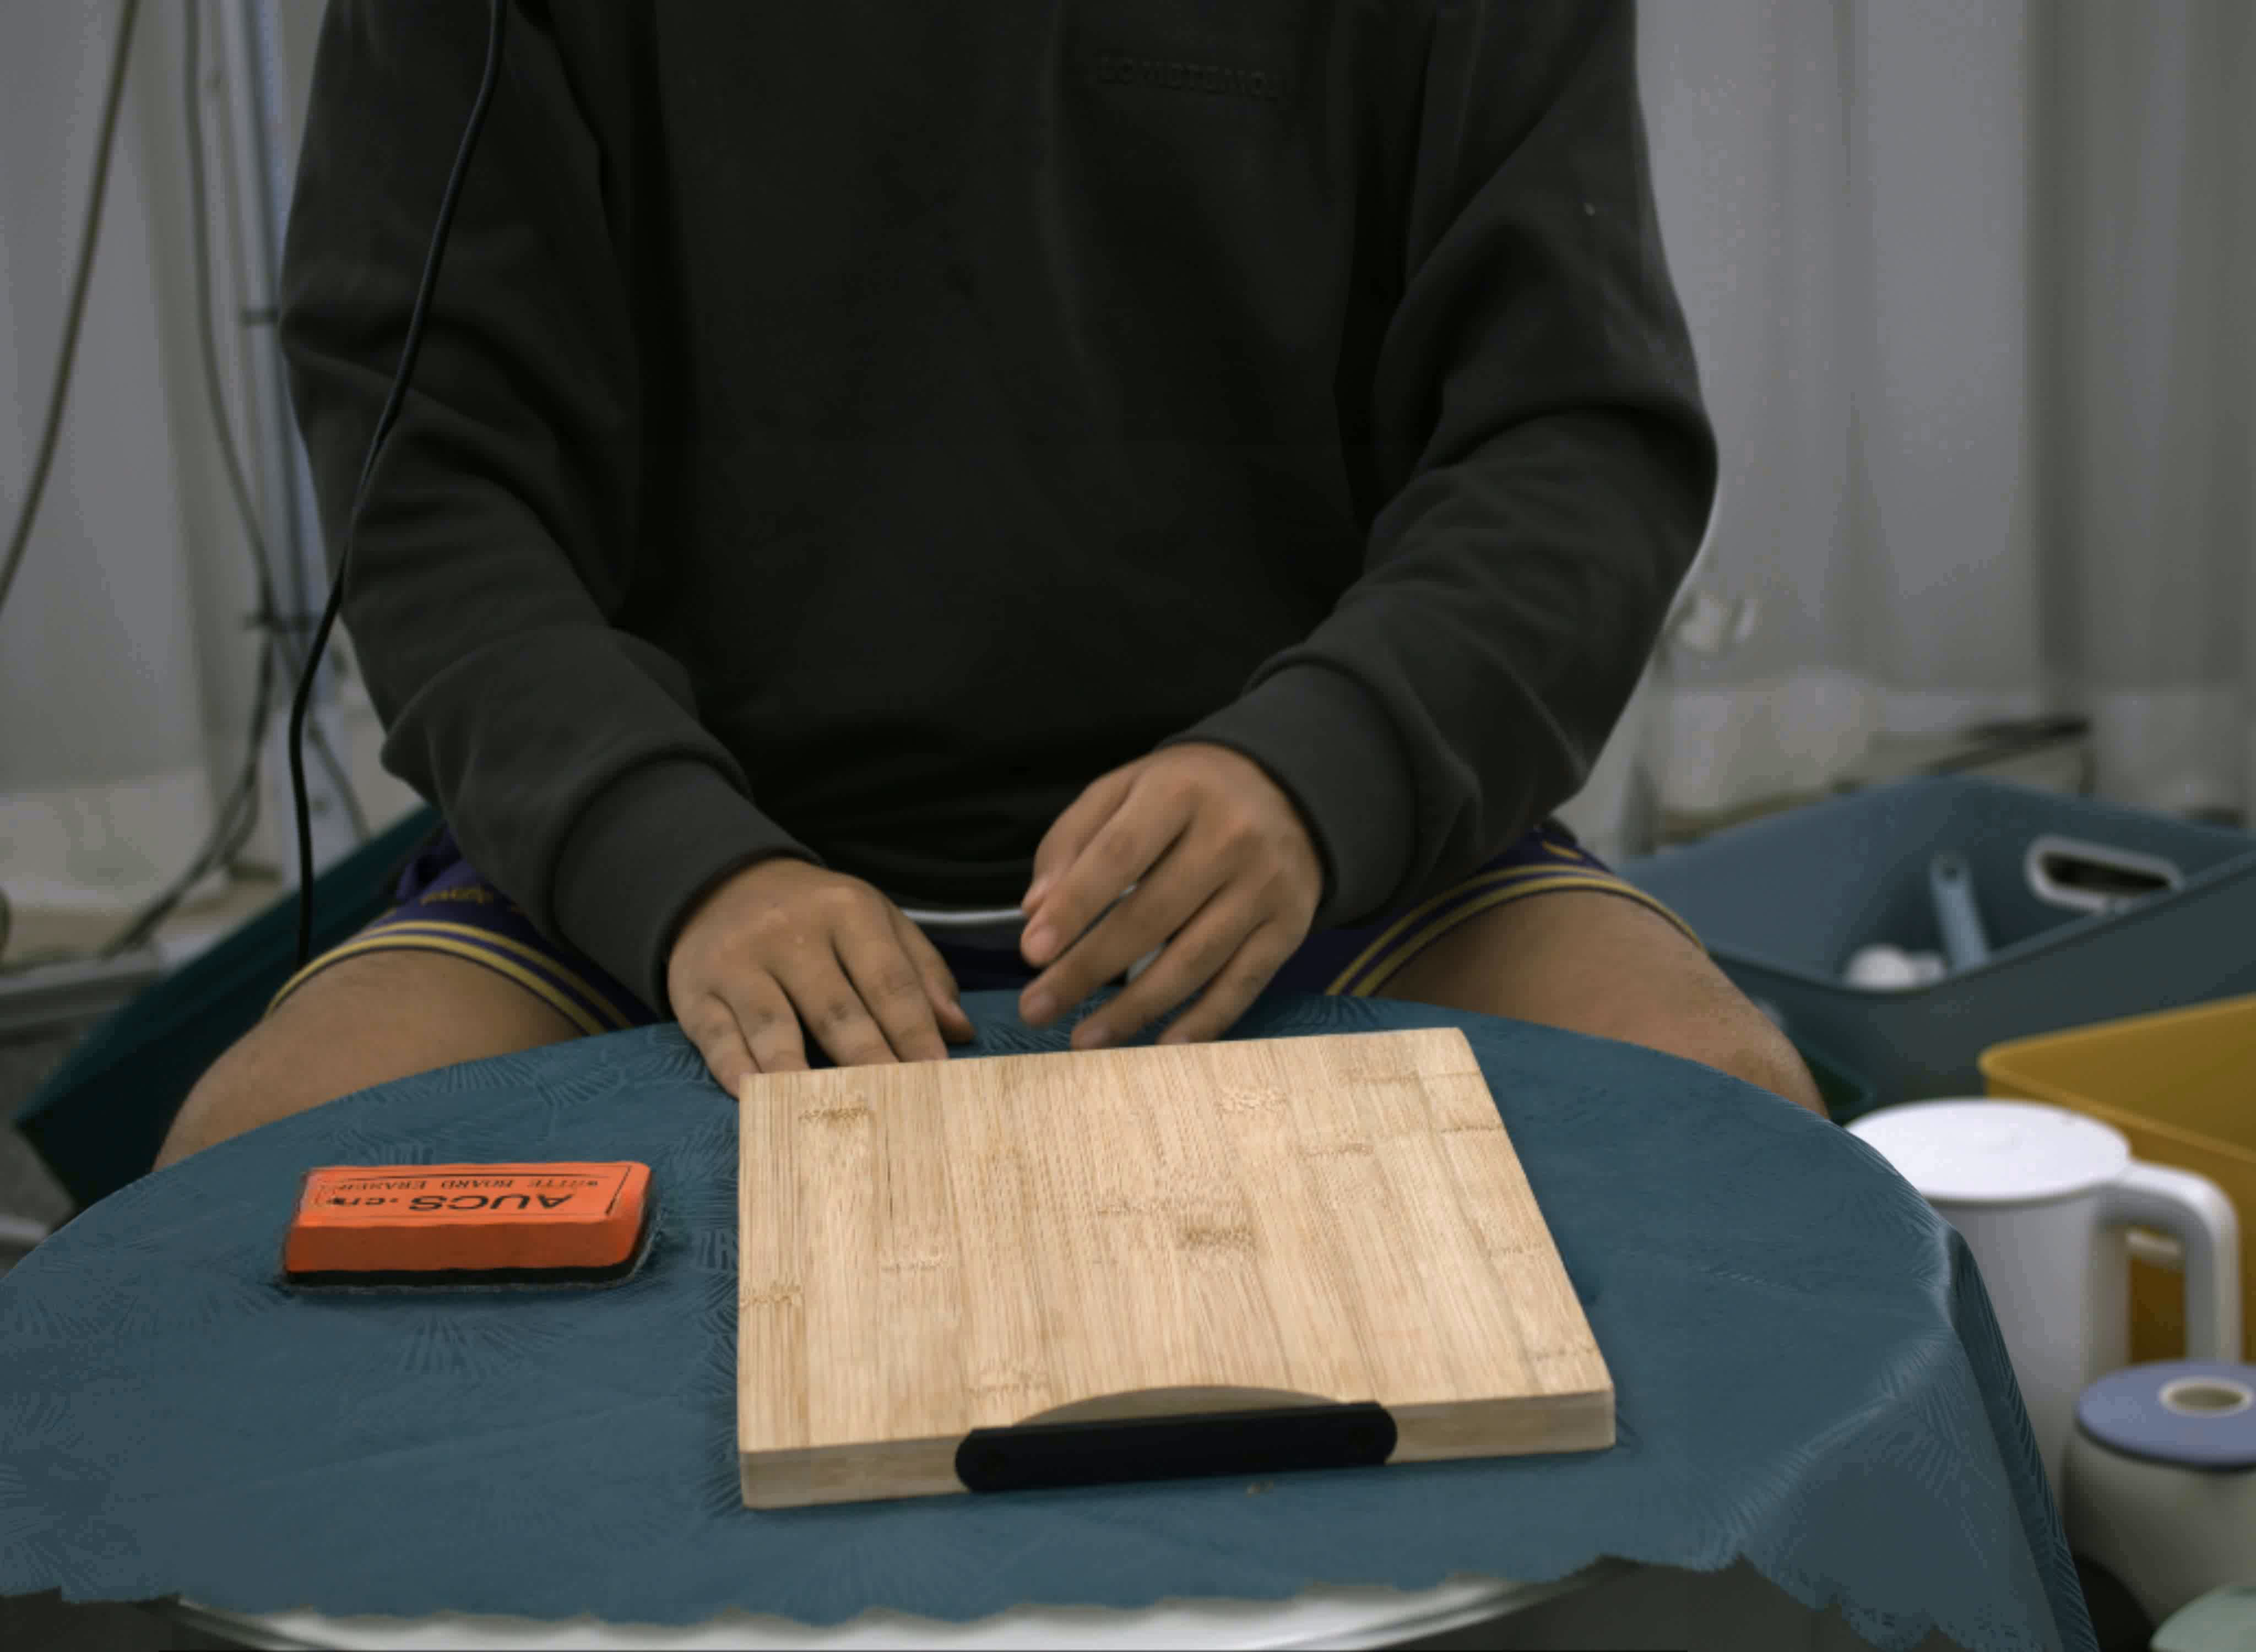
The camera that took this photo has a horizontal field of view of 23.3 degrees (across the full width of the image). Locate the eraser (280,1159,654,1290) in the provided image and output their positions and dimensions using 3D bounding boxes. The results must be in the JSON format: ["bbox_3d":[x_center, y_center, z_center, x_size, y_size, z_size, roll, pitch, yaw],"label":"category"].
[{"bbox_3d":[-0.202,0.122,1.679,0.108,0.023,0.059,-1,16,7],"label":"eraser"}]

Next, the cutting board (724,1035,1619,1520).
[{"bbox_3d":[0.003,0.128,1.635,0.250,0.023,0.351,-4,15,-4],"label":"cutting board"}]
